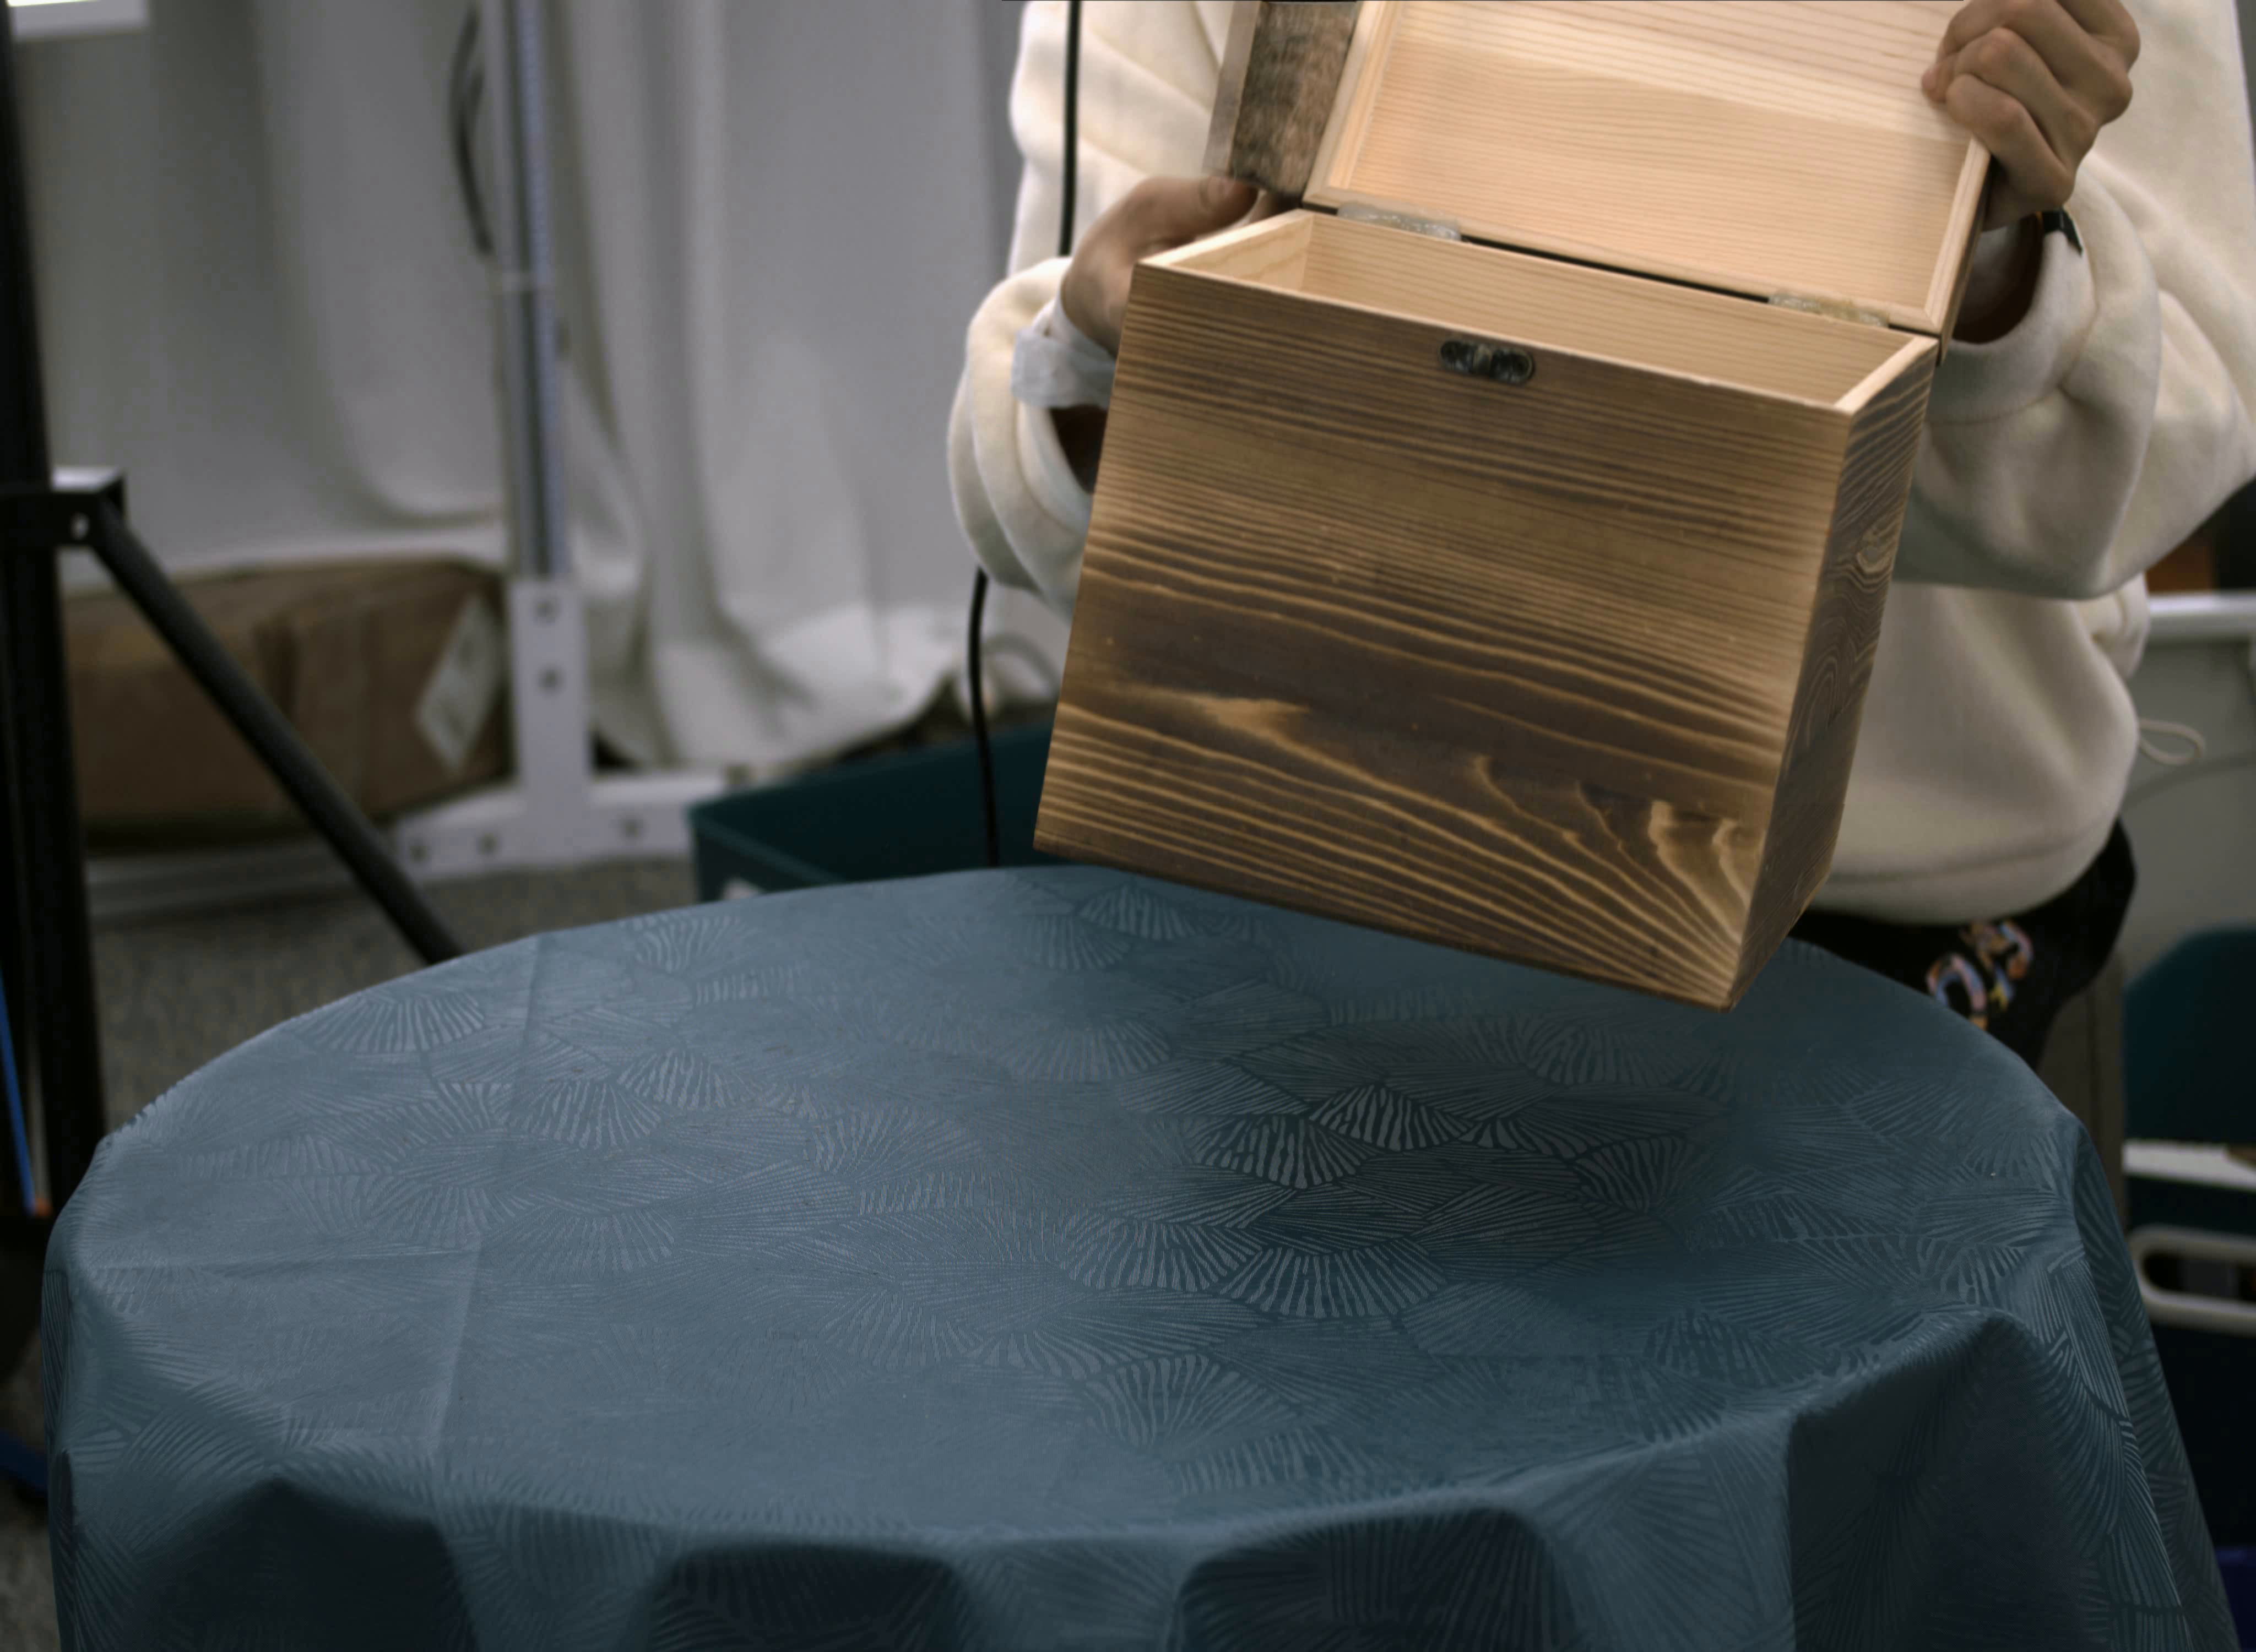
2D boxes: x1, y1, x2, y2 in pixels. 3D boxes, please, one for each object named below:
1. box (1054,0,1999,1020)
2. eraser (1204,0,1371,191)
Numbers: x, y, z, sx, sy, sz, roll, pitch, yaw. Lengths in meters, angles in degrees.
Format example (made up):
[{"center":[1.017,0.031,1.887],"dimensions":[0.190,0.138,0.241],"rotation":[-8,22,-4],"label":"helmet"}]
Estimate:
[{"center":[0.134,-0.172,1.556],"dimensions":[0.210,0.376,0.319],"rotation":[12,14,13],"label":"box"},{"center":[0.055,-0.229,1.666],"dimensions":[0.029,0.057,0.138],"rotation":[12,5,12],"label":"eraser"}]
